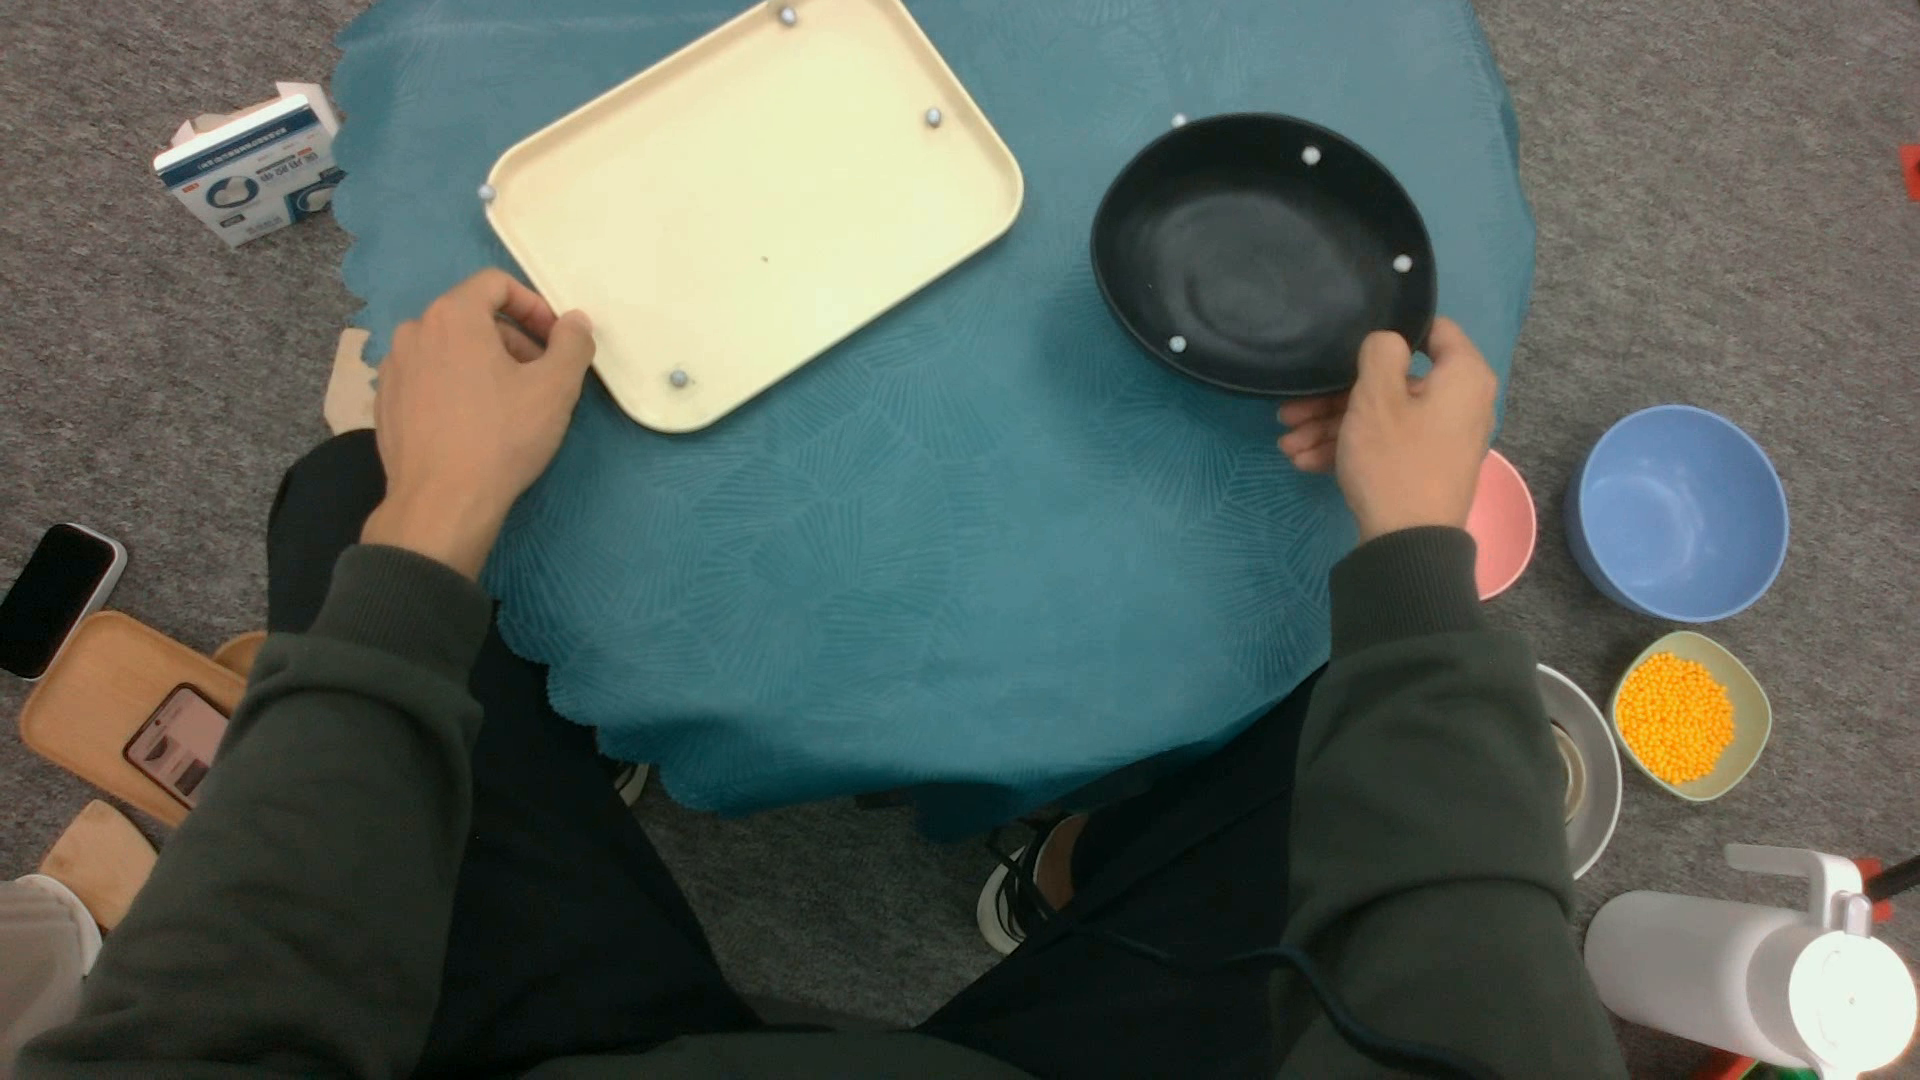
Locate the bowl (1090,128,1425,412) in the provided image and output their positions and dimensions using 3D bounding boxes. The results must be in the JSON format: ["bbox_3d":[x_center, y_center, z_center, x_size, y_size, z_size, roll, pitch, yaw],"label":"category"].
[{"bbox_3d":[0.146,-0.128,0.689,0.170,0.066,0.137,14,83,-1],"label":"bowl"}]

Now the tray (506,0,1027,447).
[{"bbox_3d":[-0.098,-0.169,0.717,0.240,0.017,0.171,-35,85,-11],"label":"tray"}]
